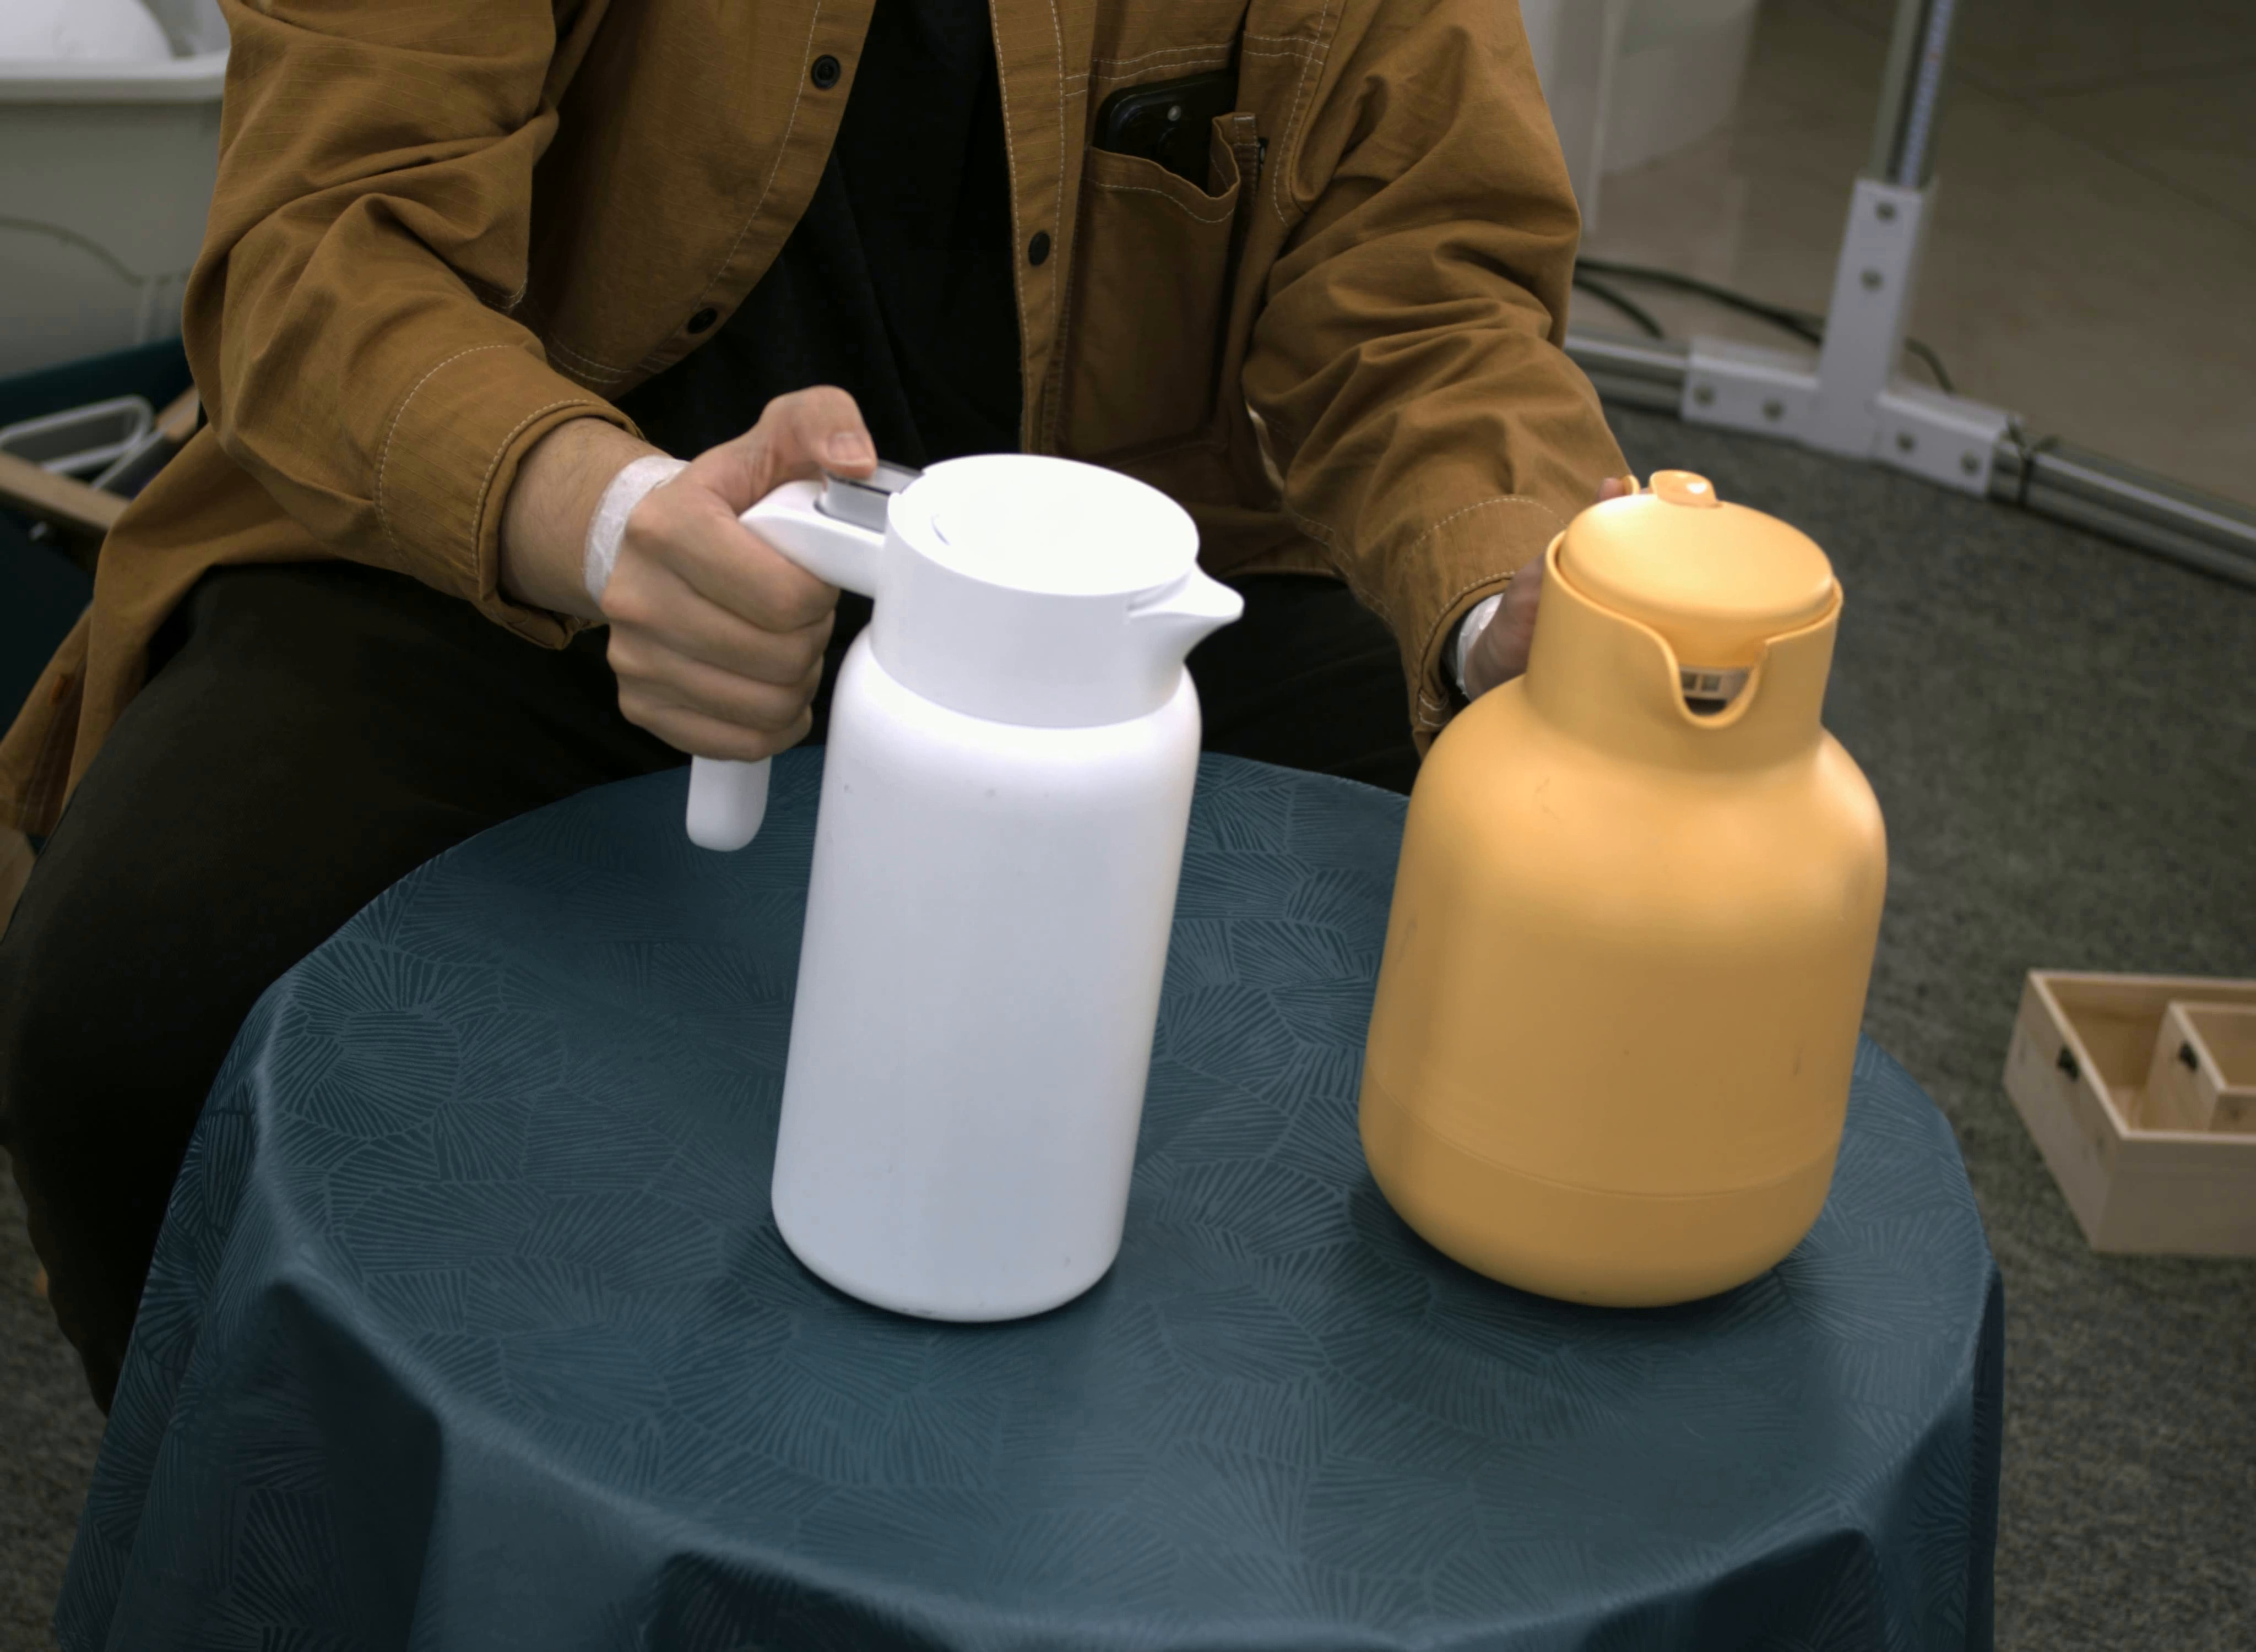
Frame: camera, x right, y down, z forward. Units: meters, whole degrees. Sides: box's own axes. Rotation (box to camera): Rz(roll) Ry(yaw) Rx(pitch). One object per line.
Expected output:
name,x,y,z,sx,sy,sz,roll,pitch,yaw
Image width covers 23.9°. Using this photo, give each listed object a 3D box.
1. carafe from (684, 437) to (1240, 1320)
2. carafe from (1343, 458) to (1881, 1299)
carafe,-0.061,0.015,1.707,0.173,0.268,0.124,17,31,17
carafe,0.169,0.008,1.780,0.163,0.259,0.203,9,28,-2
